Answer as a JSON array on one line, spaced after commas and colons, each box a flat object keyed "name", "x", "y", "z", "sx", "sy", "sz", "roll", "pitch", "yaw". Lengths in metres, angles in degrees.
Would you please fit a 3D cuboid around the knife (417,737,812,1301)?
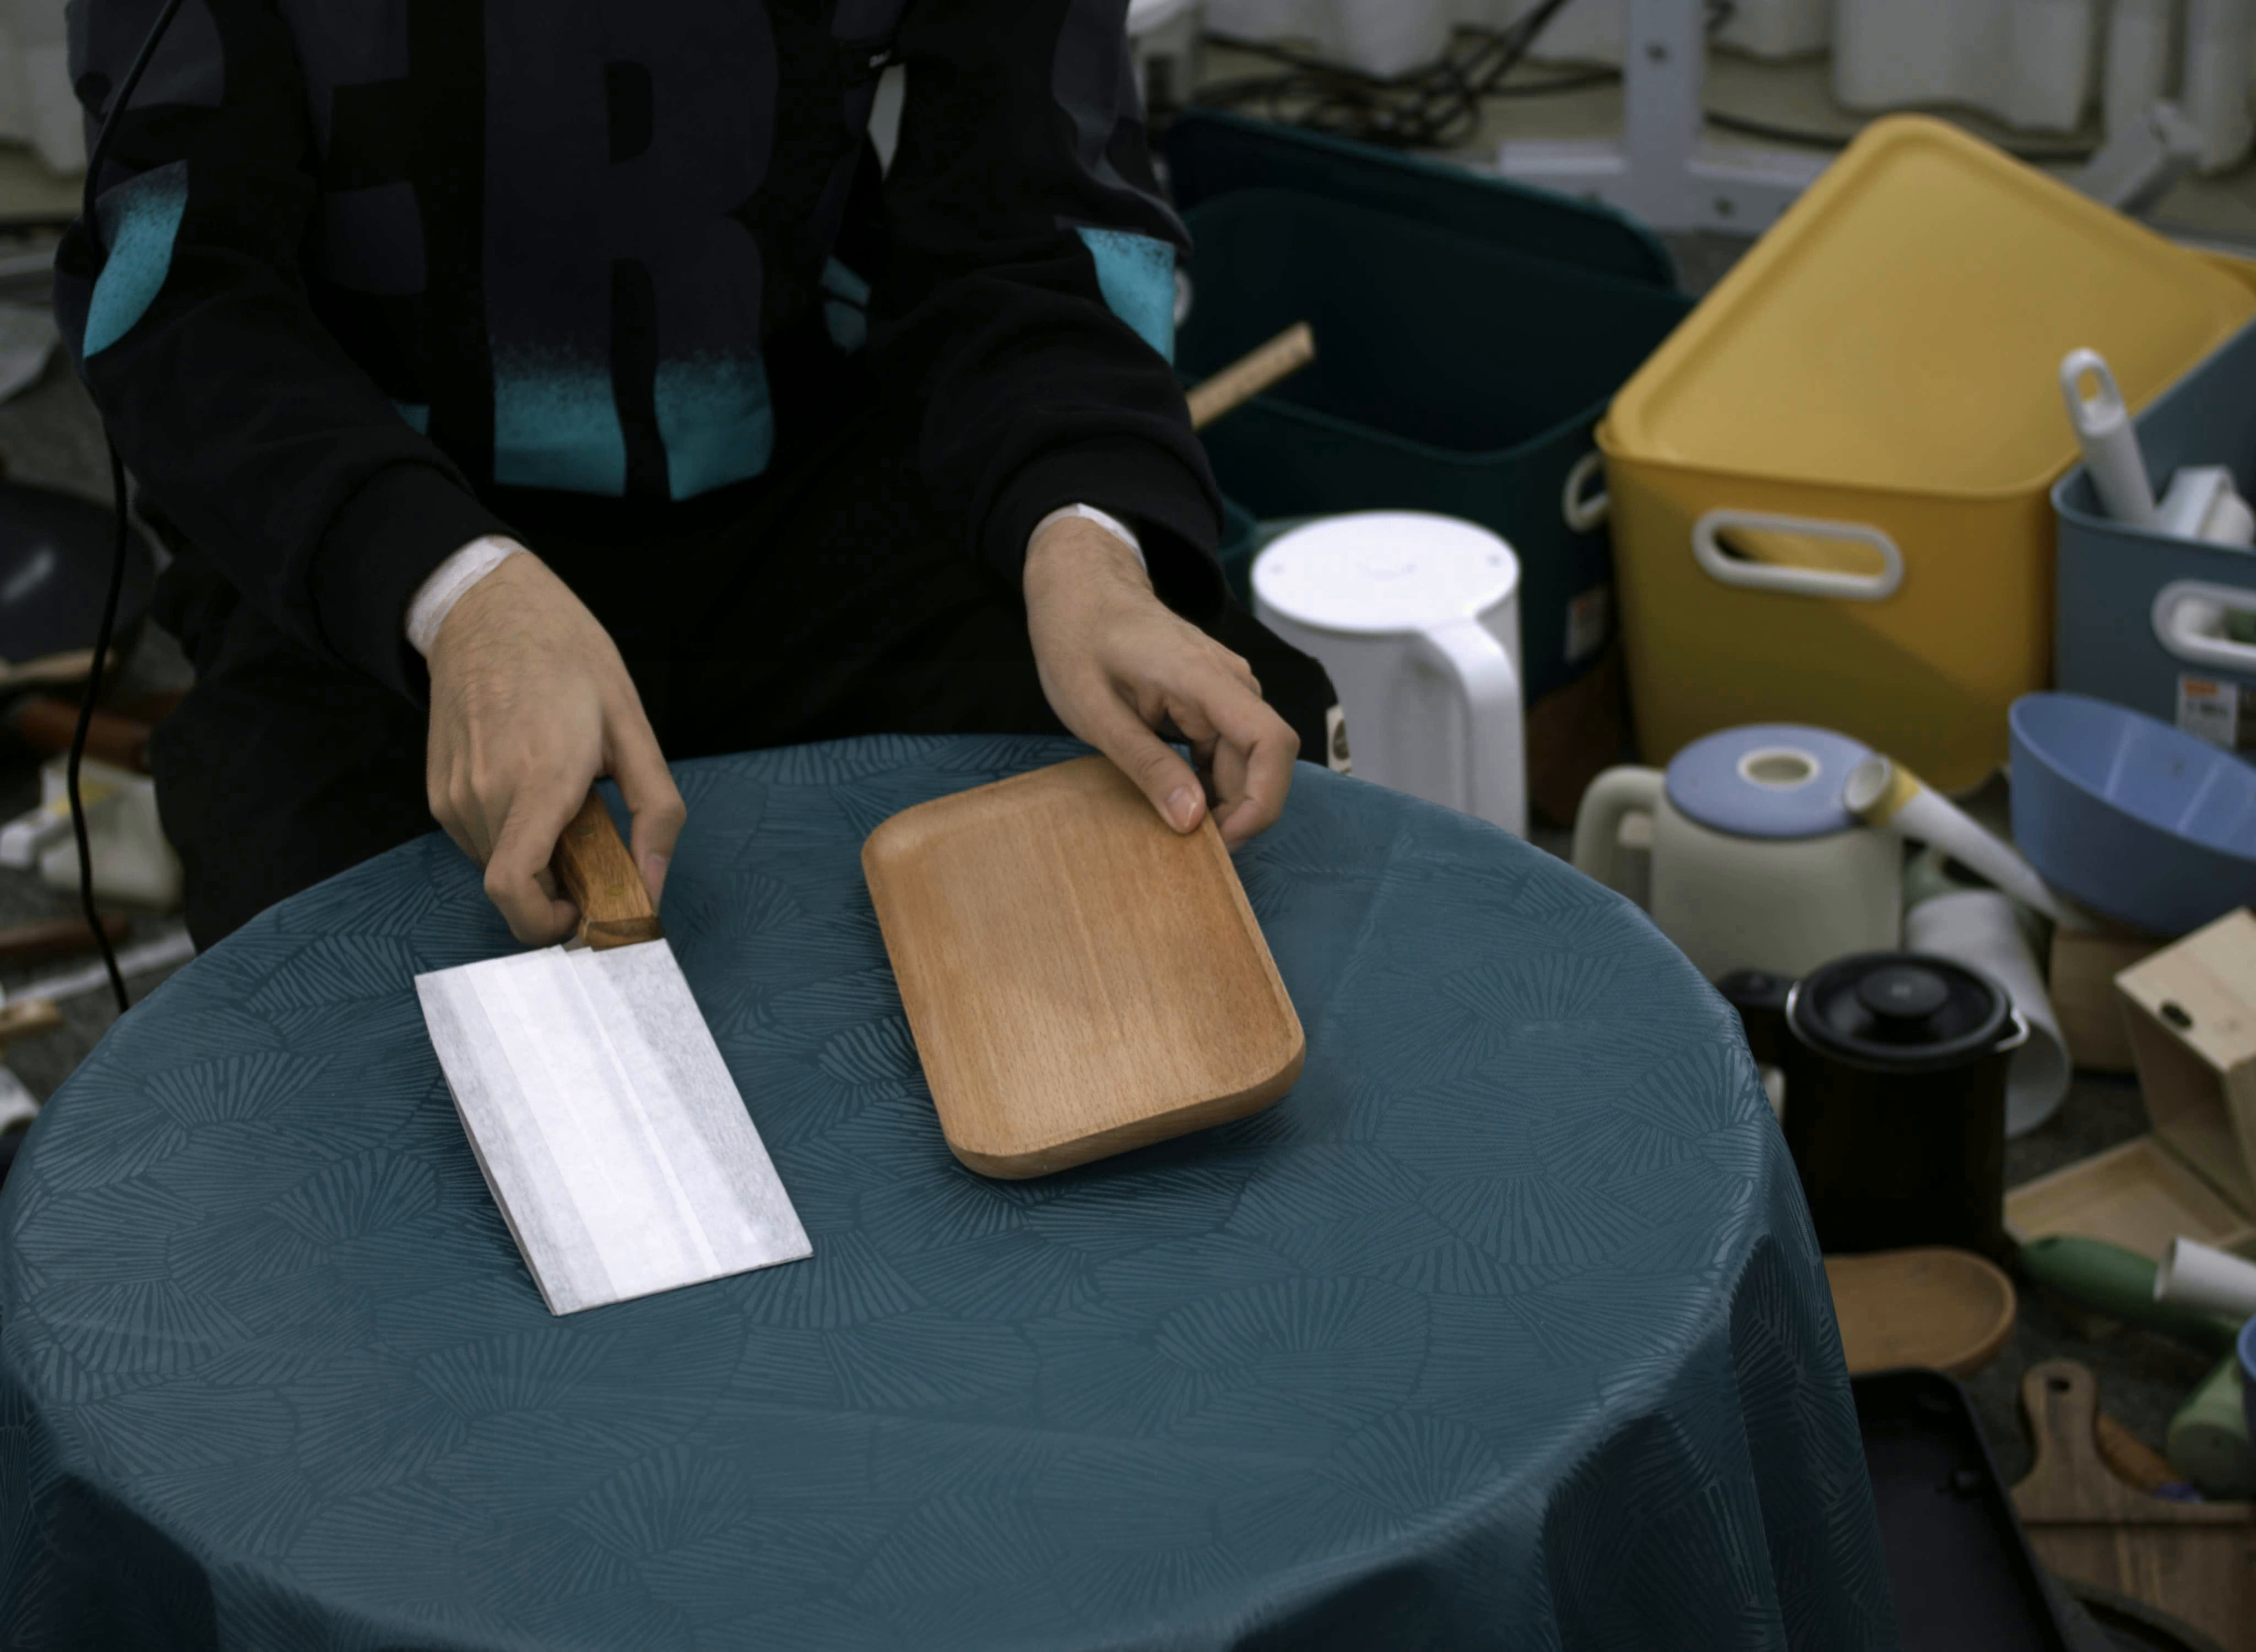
[{"name": "knife", "x": -0.193, "y": 0.065, "z": 1.938, "sx": 0.093, "sy": 0.021, "sz": 0.309, "roll": -11, "pitch": 37, "yaw": -16}]

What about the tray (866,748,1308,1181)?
[{"name": "tray", "x": -0.017, "y": 0.046, "z": 1.971, "sx": 0.130, "sy": 0.022, "sz": 0.254, "roll": -13, "pitch": 28, "yaw": -3}]
